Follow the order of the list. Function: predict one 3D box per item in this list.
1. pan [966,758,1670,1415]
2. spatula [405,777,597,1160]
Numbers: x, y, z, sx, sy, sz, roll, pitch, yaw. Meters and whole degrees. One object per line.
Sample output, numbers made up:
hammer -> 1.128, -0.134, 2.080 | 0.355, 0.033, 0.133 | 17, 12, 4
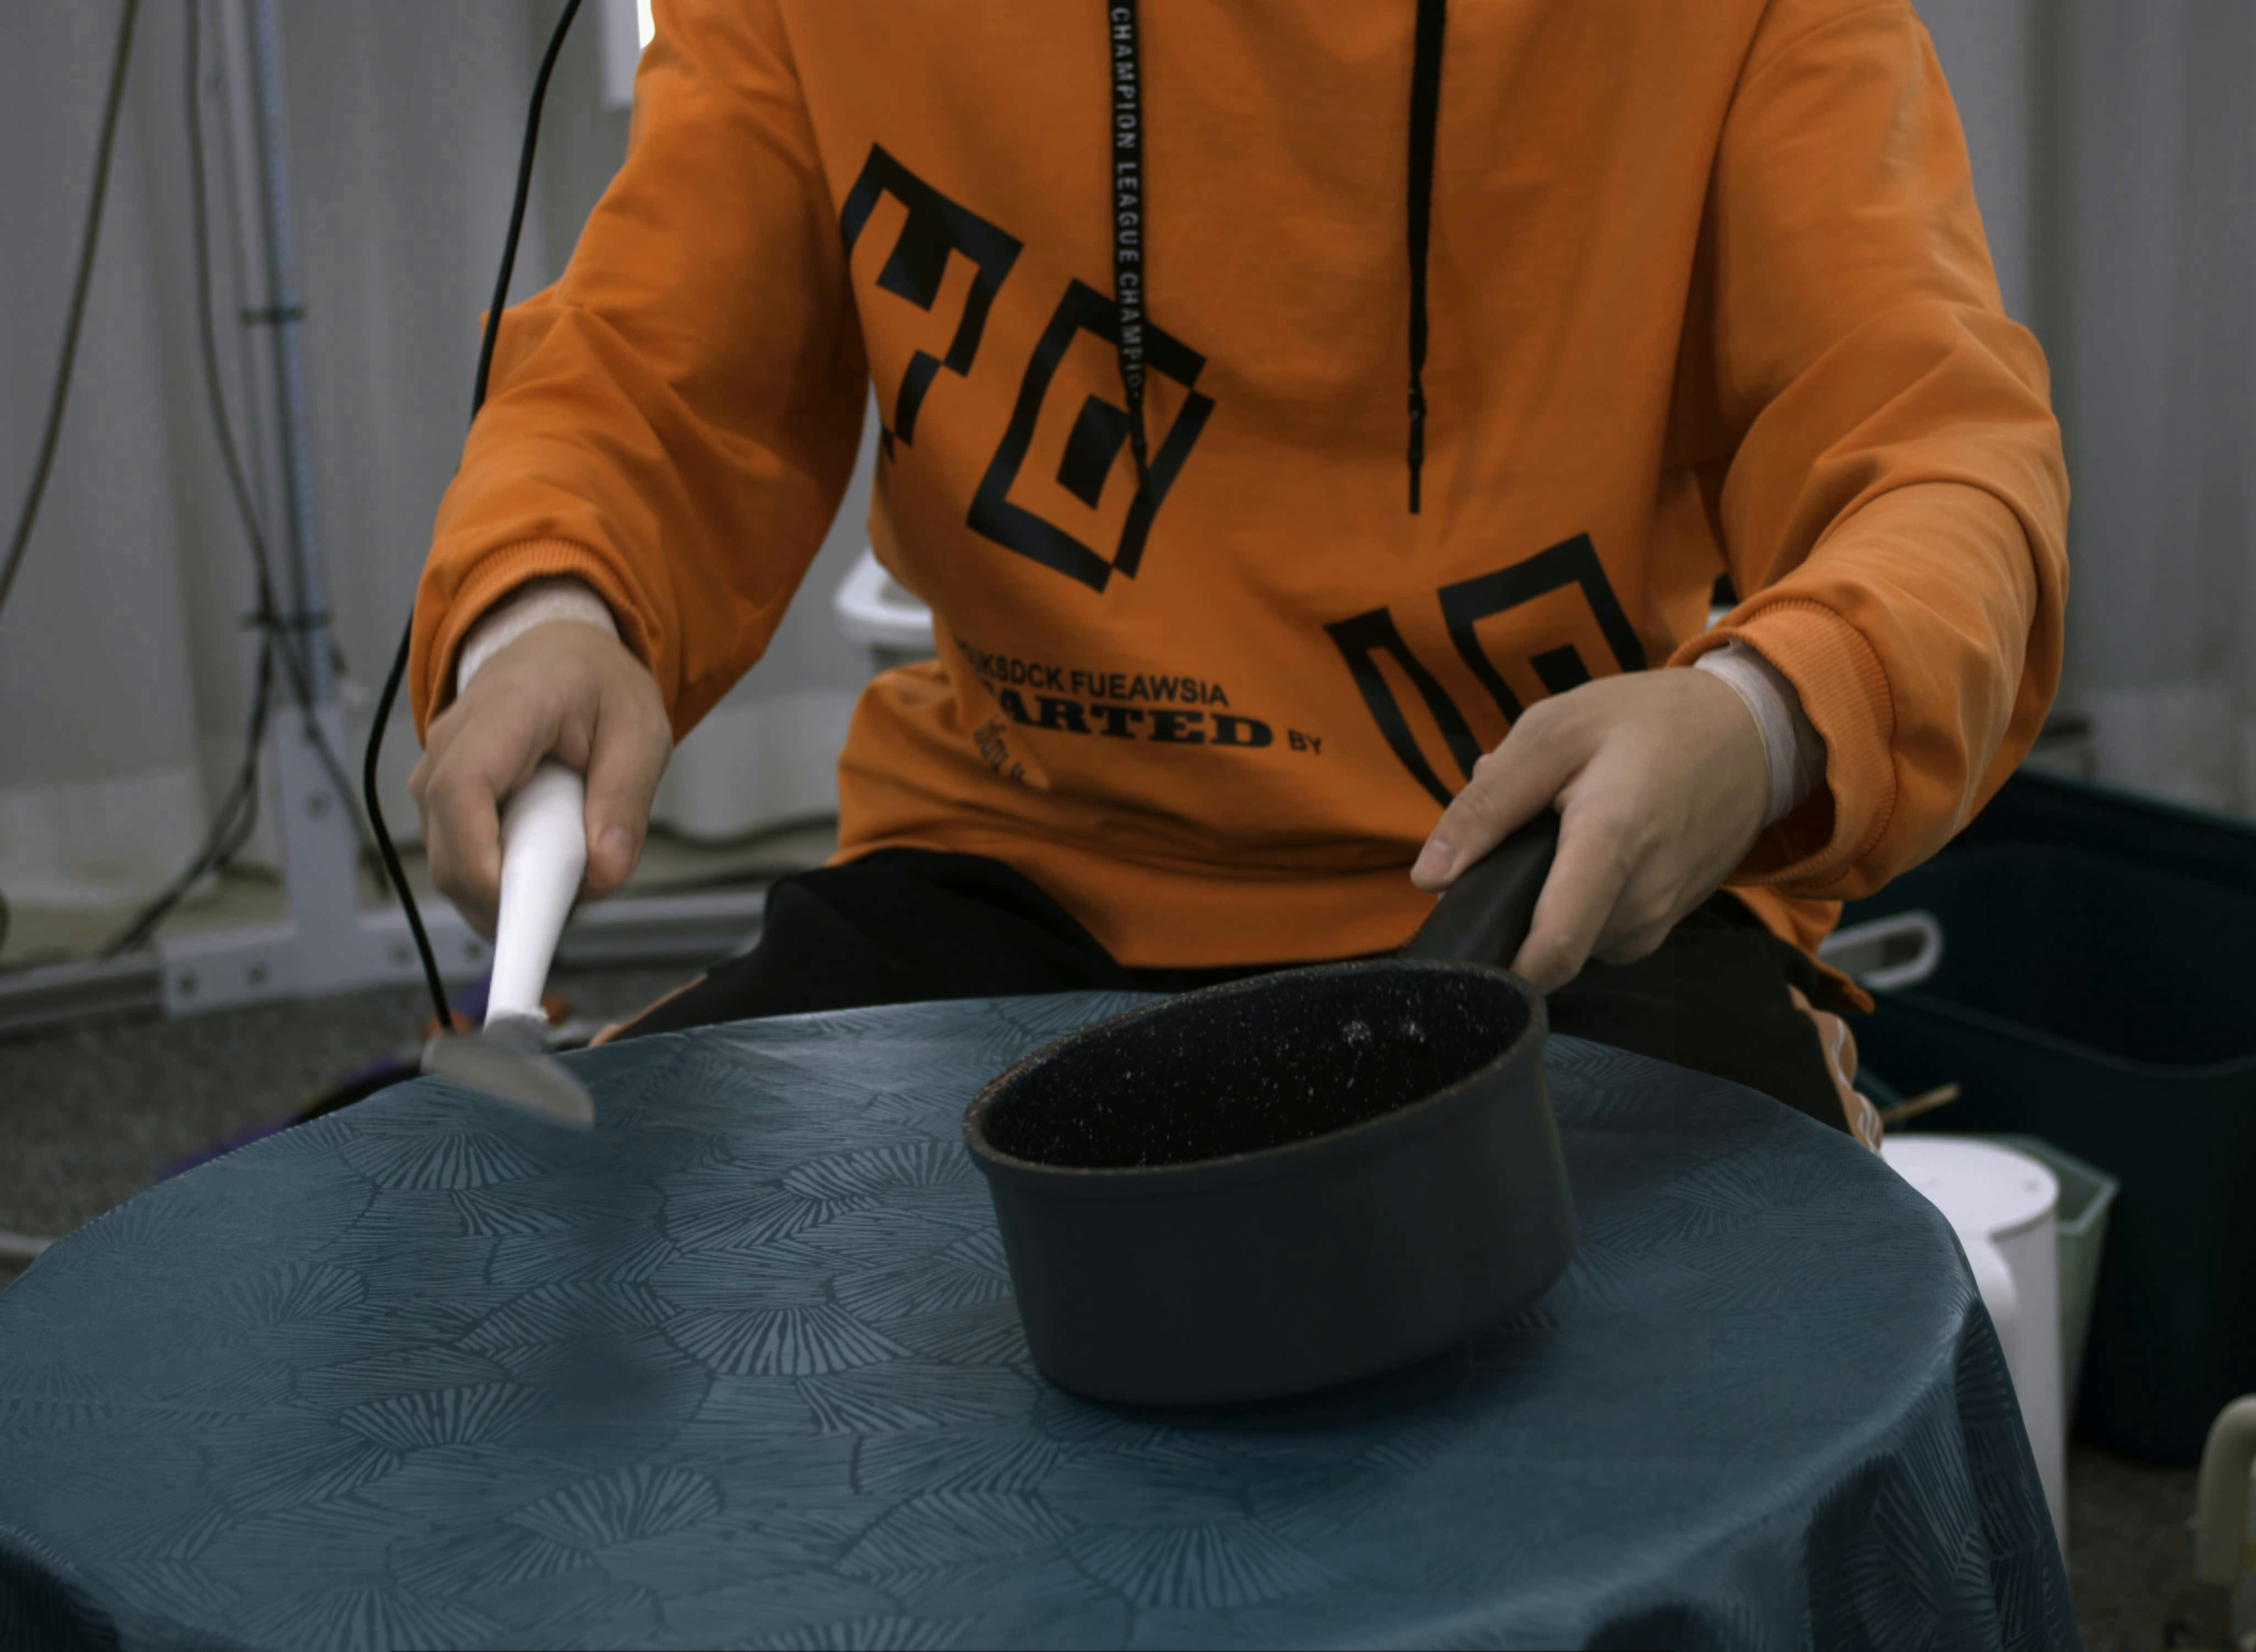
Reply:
pan -> 0.083, 0.074, 1.630 | 0.172, 0.086, 0.330 | -1, 20, 32
spatula -> -0.185, 0.047, 1.669 | 0.058, 0.032, 0.290 | 23, 17, -10
